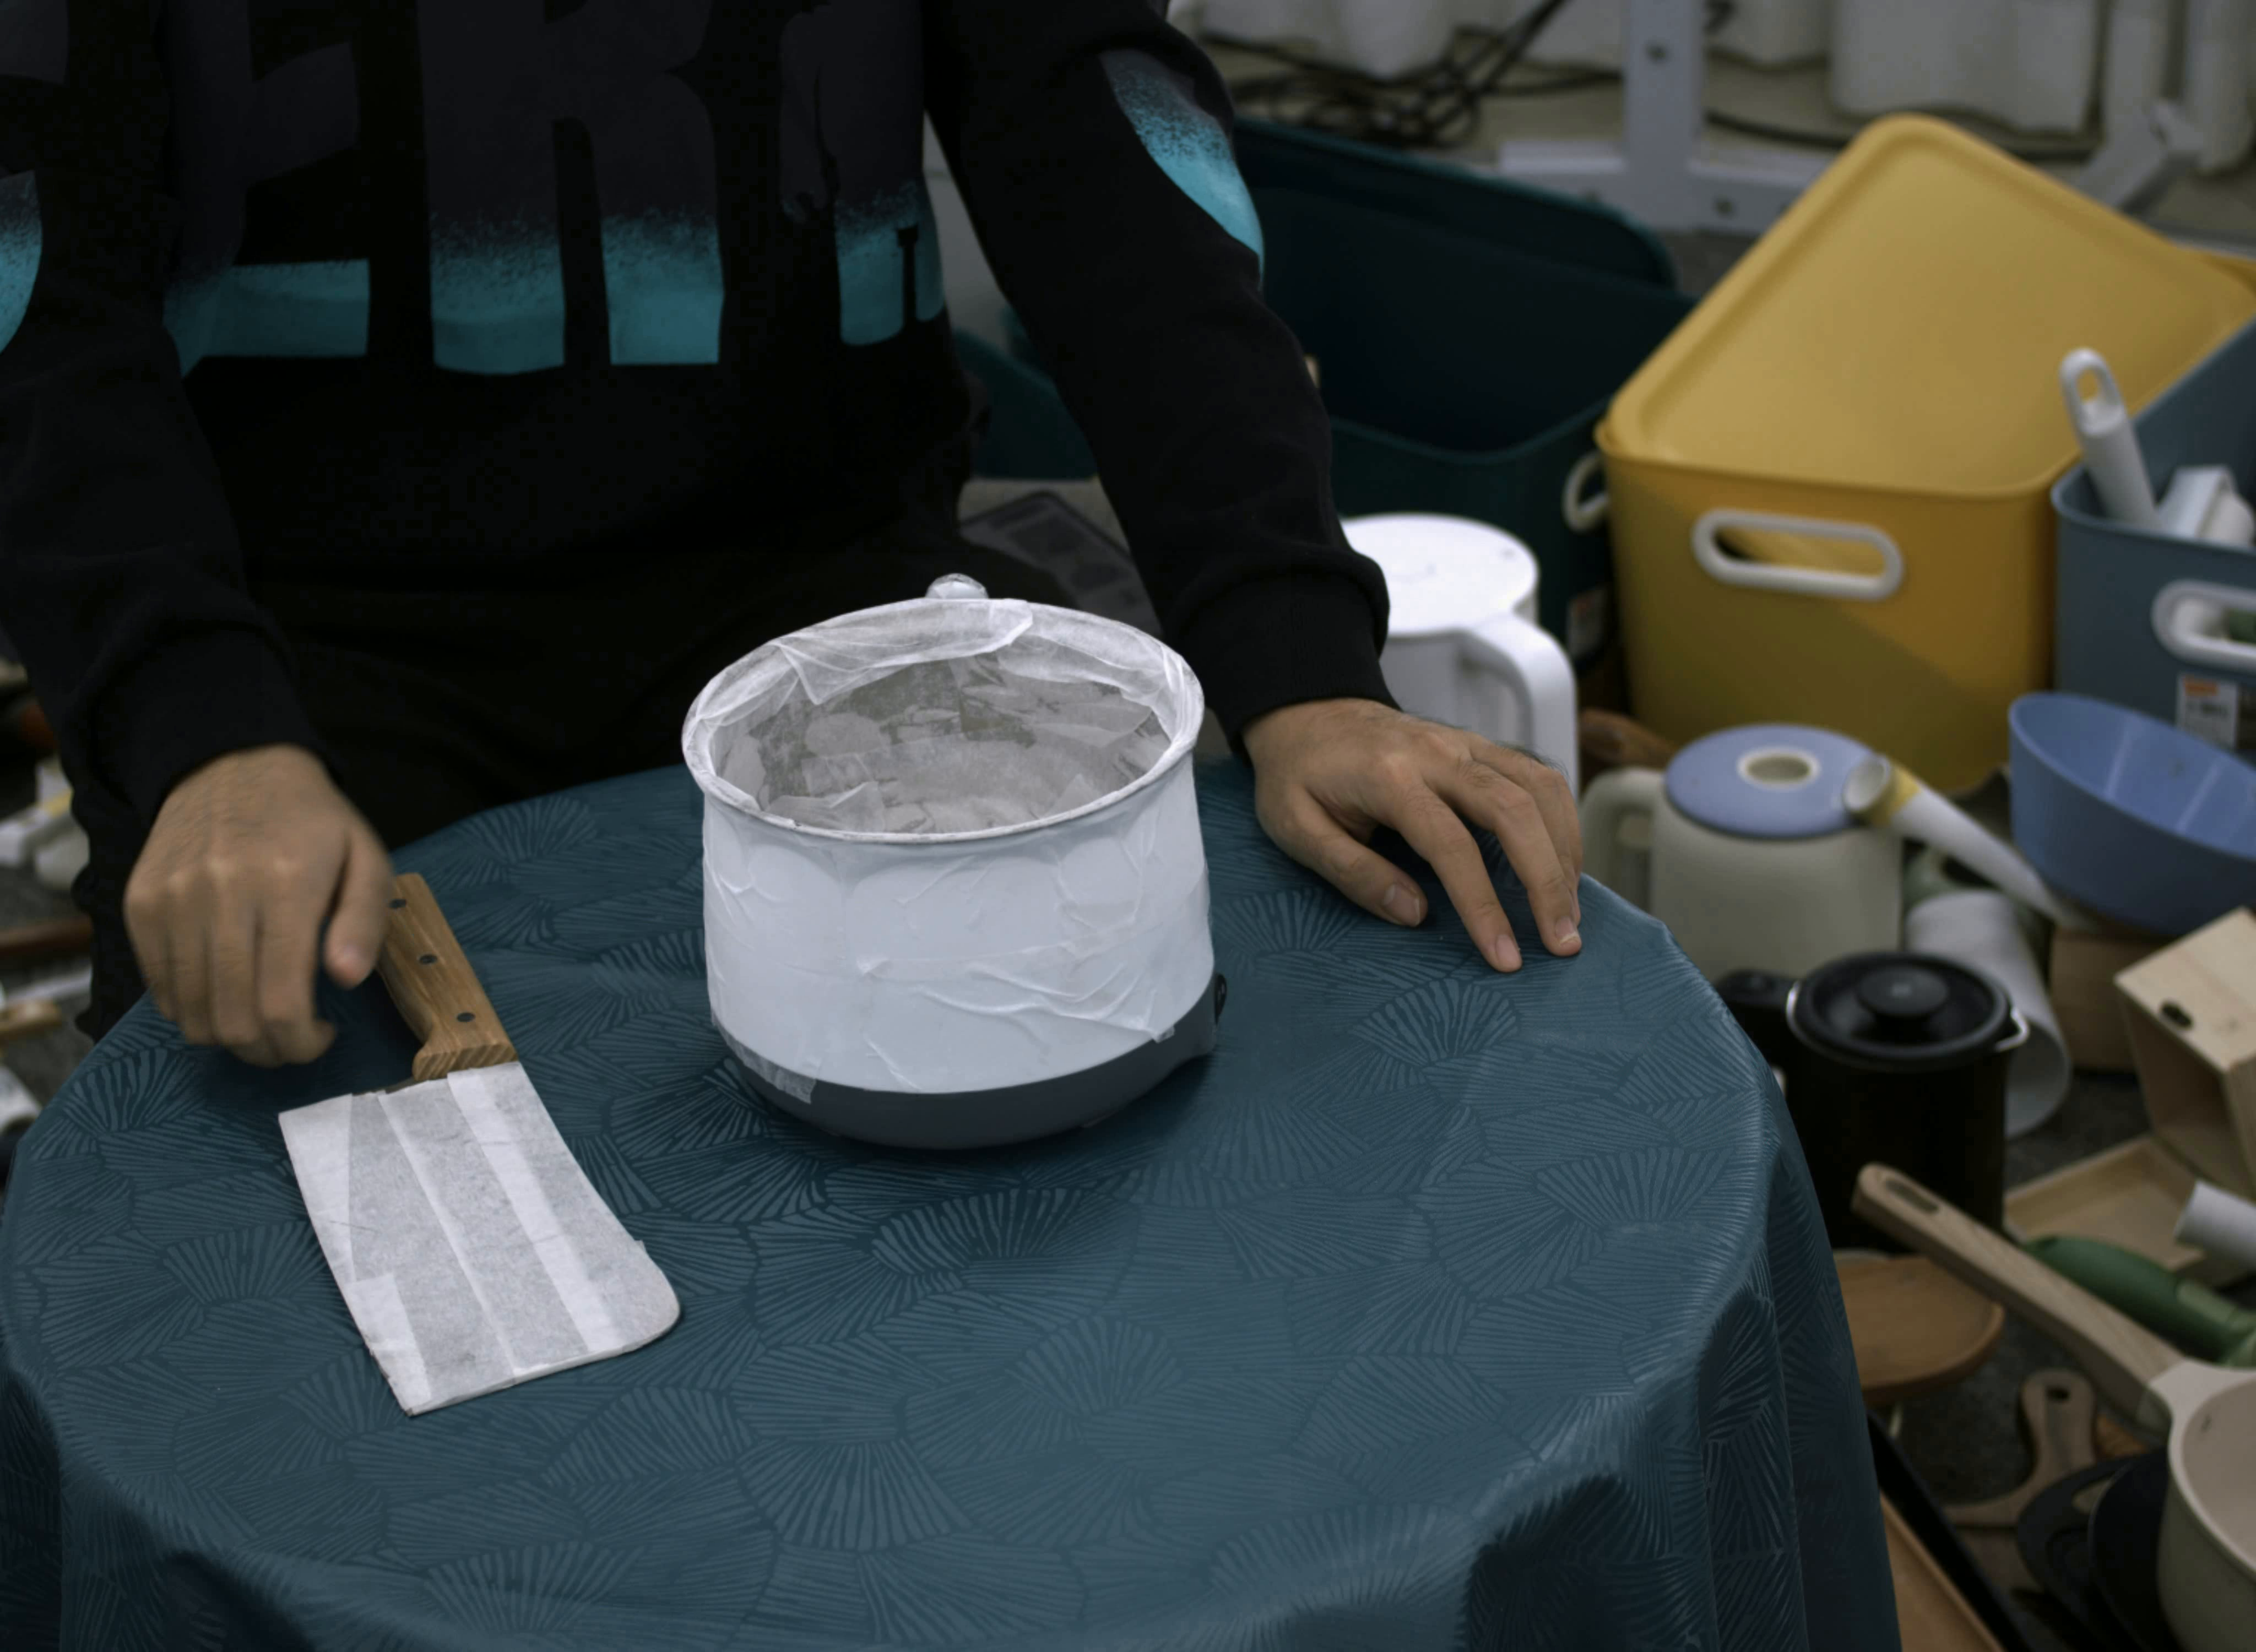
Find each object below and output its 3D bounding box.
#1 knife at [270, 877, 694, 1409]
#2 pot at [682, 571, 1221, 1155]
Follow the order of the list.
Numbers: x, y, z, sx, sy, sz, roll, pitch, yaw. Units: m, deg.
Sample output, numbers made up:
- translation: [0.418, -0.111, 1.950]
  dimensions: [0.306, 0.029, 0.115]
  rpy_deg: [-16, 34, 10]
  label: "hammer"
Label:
- translation: [-0.231, 0.103, 1.902]
  dimensions: [0.114, 0.021, 0.319]
  rpy_deg: [-11, 31, -14]
  label: "knife"
- translation: [-0.059, 0.006, 1.945]
  dimensions: [0.178, 0.135, 0.237]
  rpy_deg: [-2, 28, 0]
  label: "pot"
